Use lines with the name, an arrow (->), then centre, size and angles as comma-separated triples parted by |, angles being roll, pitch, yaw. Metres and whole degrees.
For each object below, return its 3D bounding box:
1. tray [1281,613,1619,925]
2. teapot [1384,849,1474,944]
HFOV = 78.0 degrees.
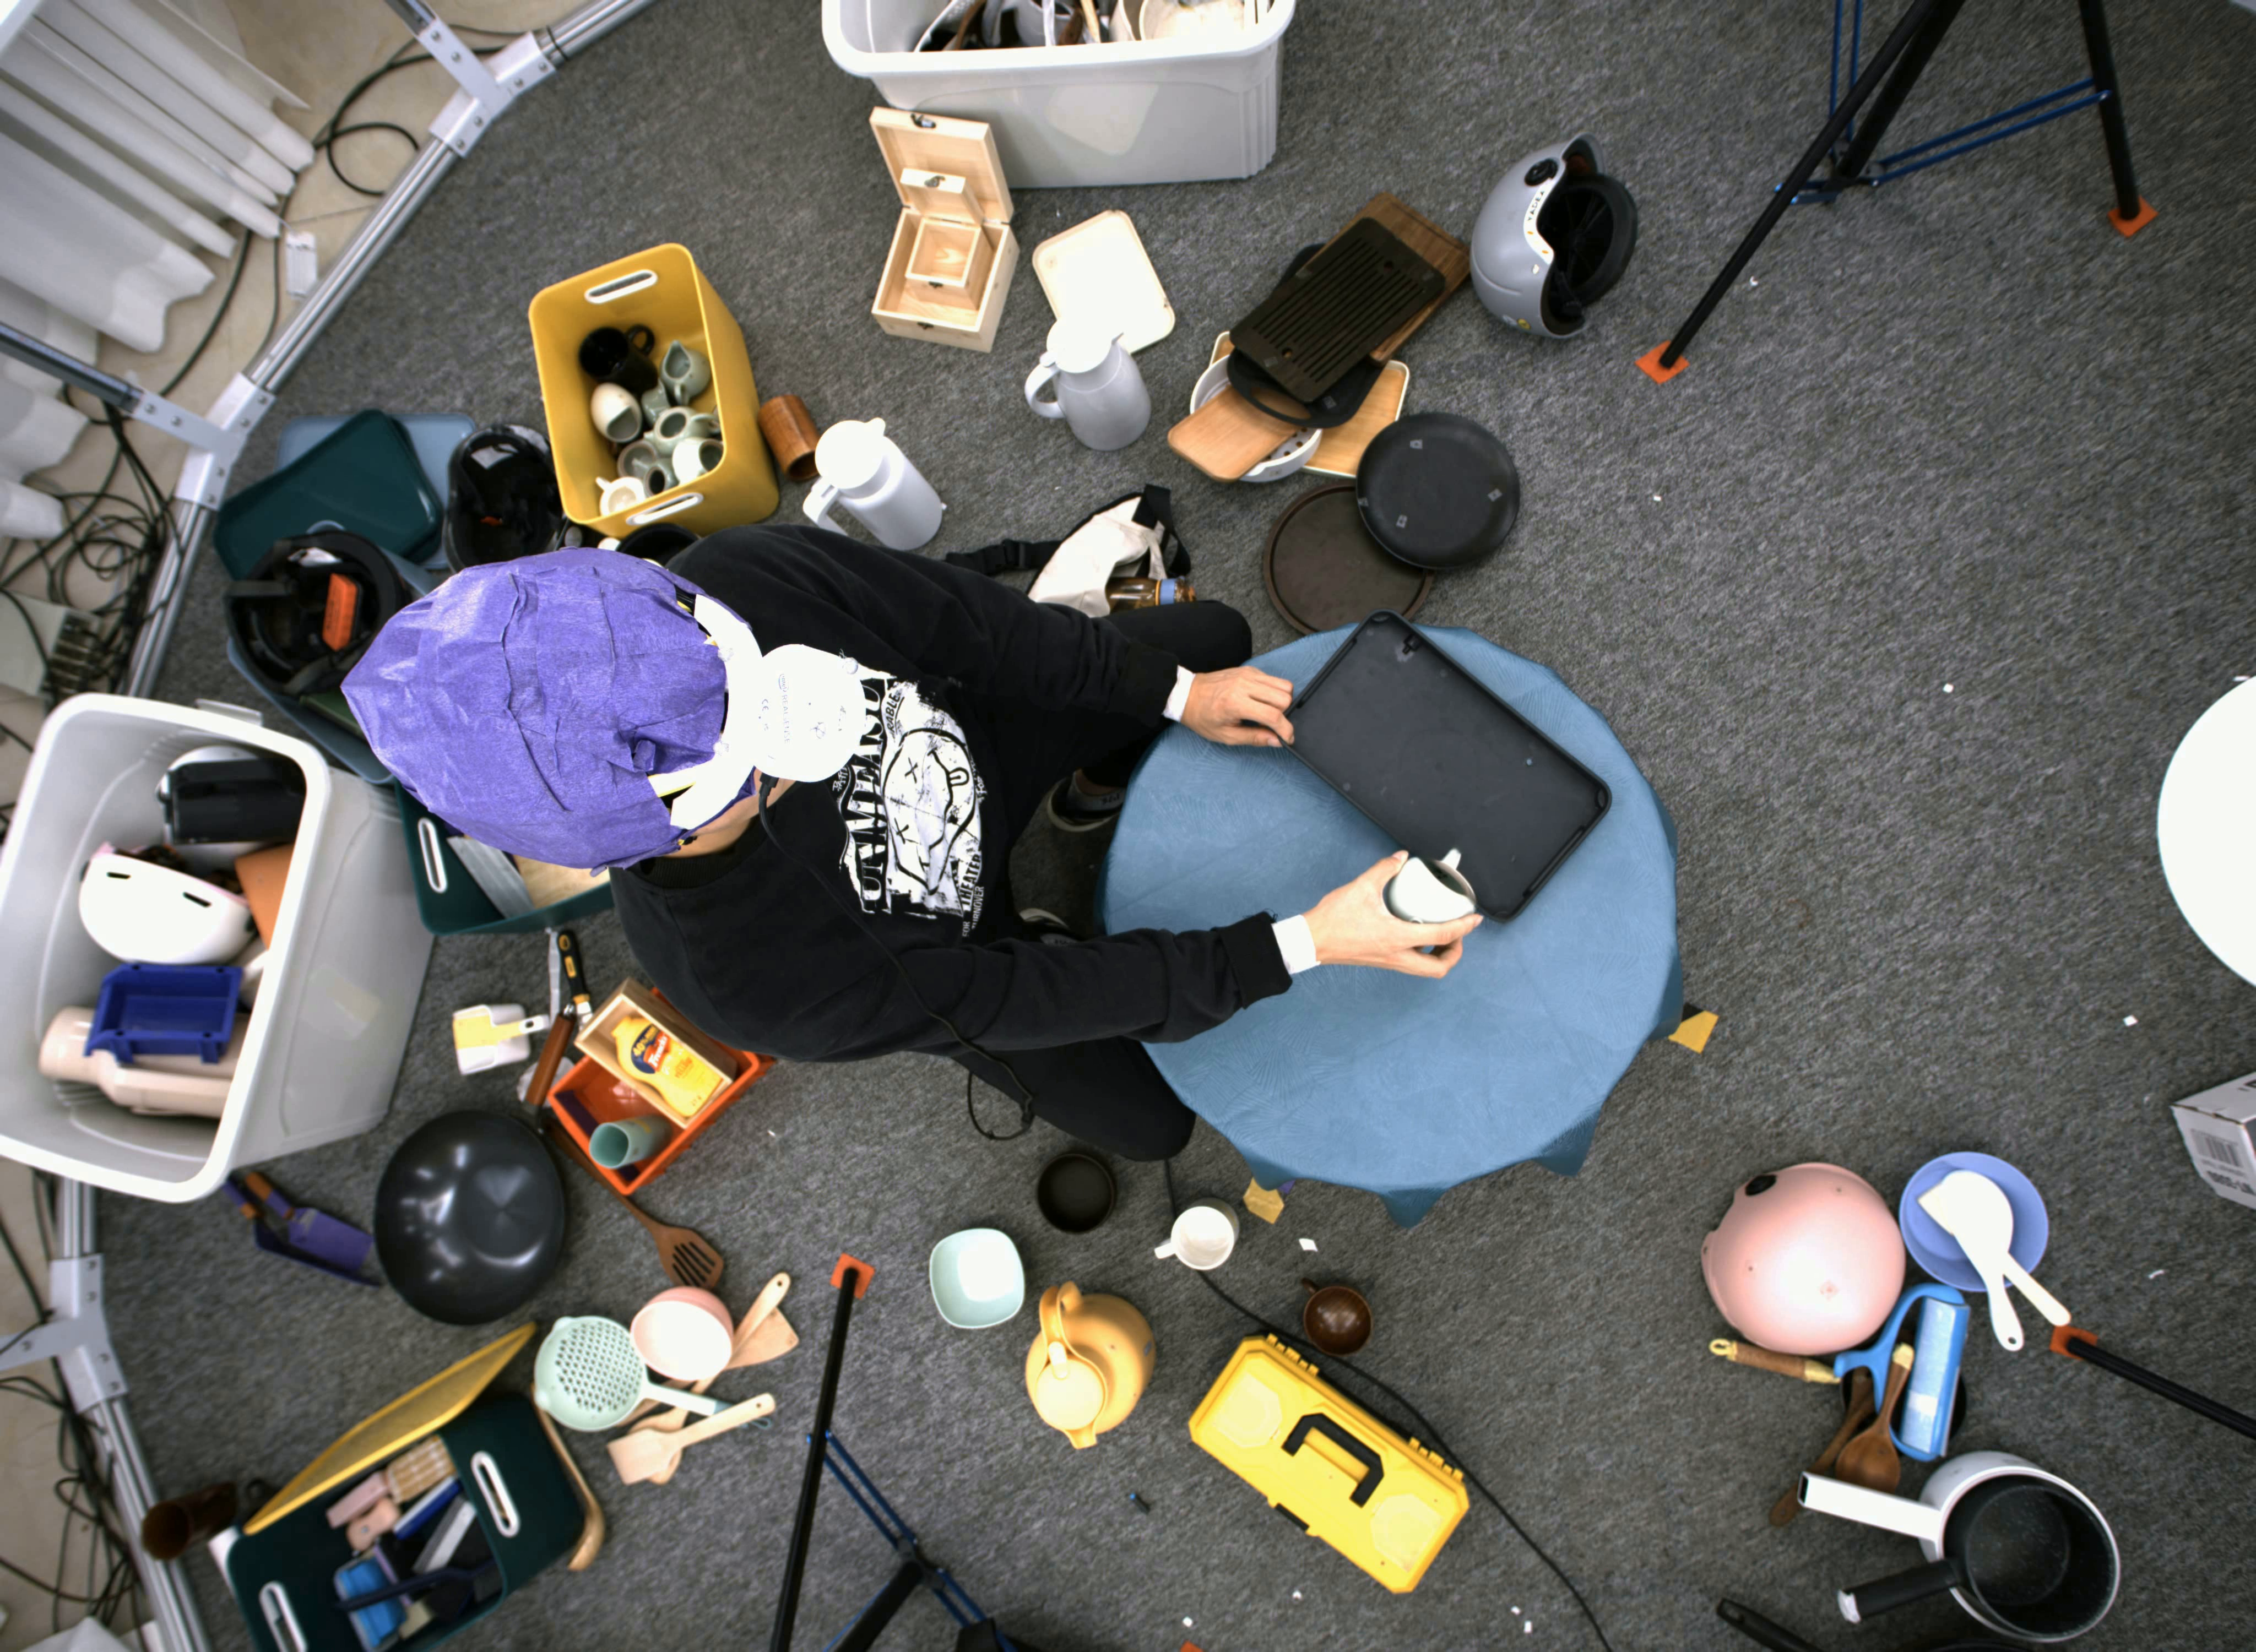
tray -> 0.330, -0.060, 1.423 | 0.317, 0.037, 0.185 | 39, 93, 5
teapot -> 0.292, 0.069, 1.337 | 0.088, 0.141, 0.076 | 37, 116, 5
